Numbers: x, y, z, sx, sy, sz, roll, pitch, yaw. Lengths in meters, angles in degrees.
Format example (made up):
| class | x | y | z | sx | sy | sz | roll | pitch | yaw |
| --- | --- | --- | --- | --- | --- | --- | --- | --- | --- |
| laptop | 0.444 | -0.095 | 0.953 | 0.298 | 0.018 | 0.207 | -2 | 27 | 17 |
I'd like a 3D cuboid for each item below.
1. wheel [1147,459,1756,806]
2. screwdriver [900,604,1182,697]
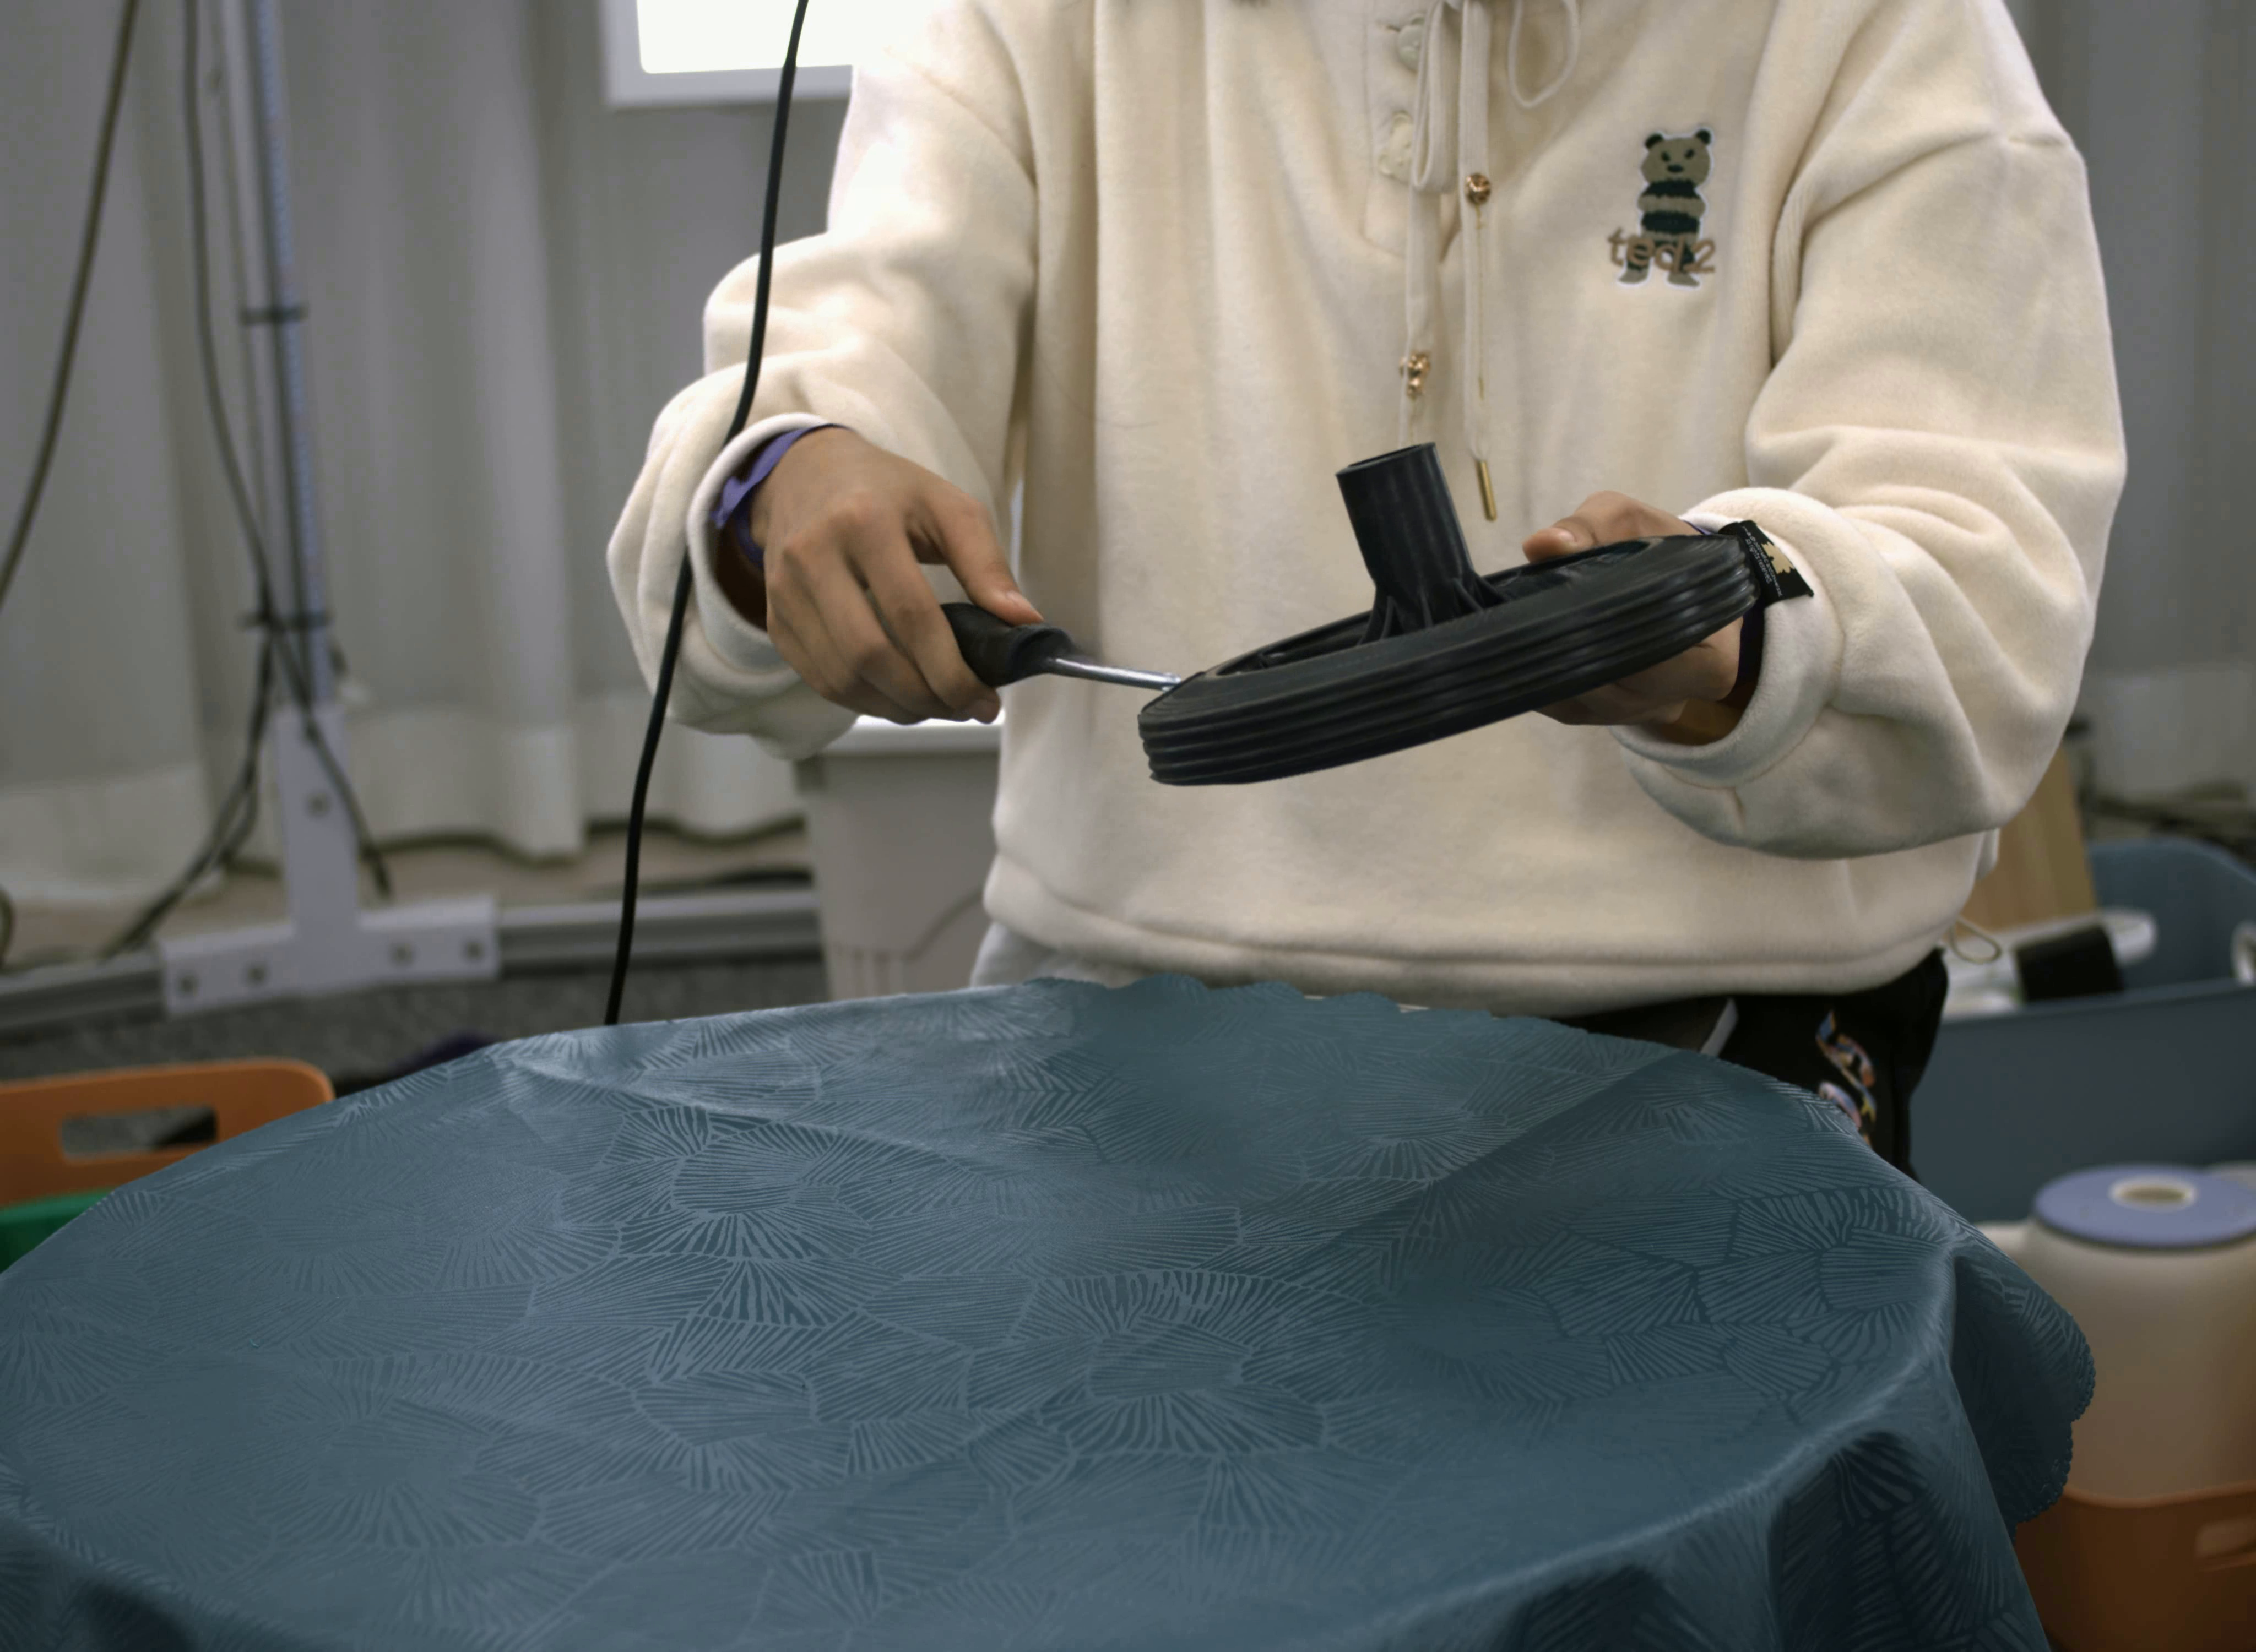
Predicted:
| class | x | y | z | sx | sy | sz | roll | pitch | yaw |
| --- | --- | --- | --- | --- | --- | --- | --- | --- | --- |
| wheel | 0.088 | -0.066 | 1.621 | 0.187 | 0.079 | 0.190 | -13 | 9 | 46 |
| screwdriver | -0.026 | -0.056 | 1.748 | 0.031 | 0.031 | 0.197 | -9 | 6 | -25 |
